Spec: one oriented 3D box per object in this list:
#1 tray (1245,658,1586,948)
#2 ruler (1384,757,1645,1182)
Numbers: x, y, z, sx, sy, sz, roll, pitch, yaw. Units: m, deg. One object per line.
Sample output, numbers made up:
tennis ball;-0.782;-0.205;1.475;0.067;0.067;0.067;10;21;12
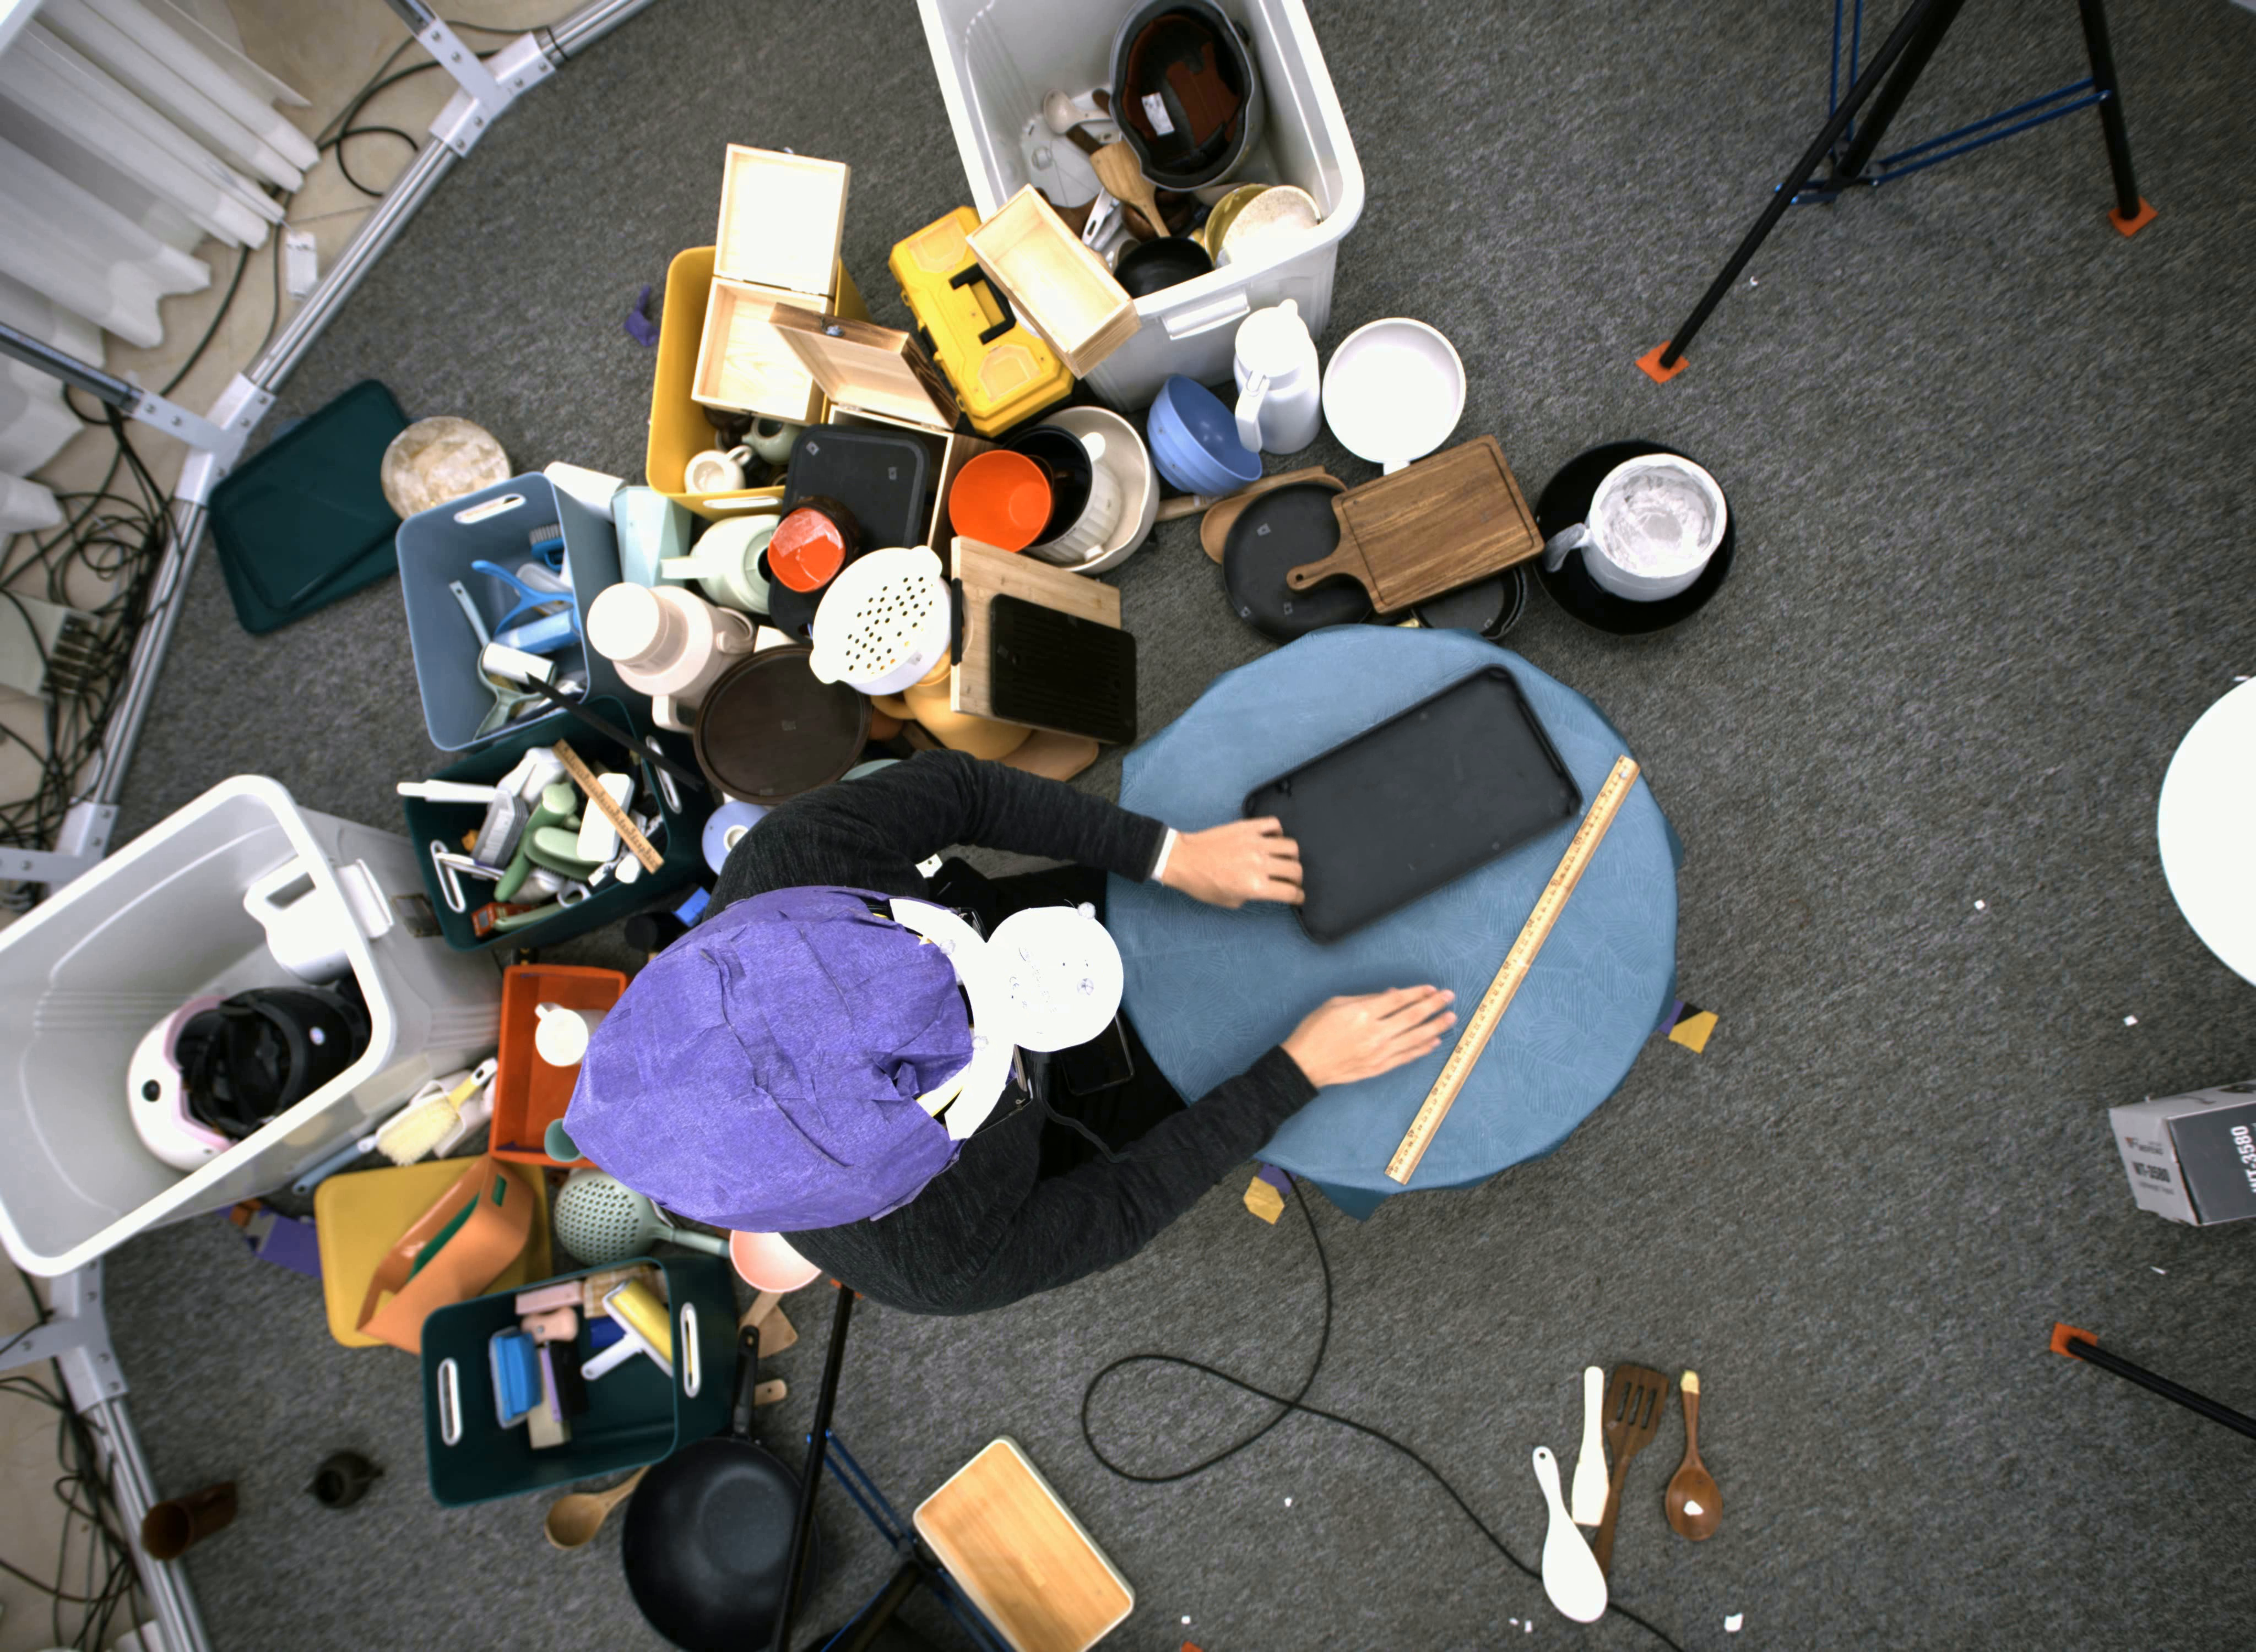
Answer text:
tray;0.298;-0.024;1.442;0.320;0.037;0.183;-32;81;8
ruler;0.401;0.146;1.429;0.027;0.006;0.501;31;93;13
